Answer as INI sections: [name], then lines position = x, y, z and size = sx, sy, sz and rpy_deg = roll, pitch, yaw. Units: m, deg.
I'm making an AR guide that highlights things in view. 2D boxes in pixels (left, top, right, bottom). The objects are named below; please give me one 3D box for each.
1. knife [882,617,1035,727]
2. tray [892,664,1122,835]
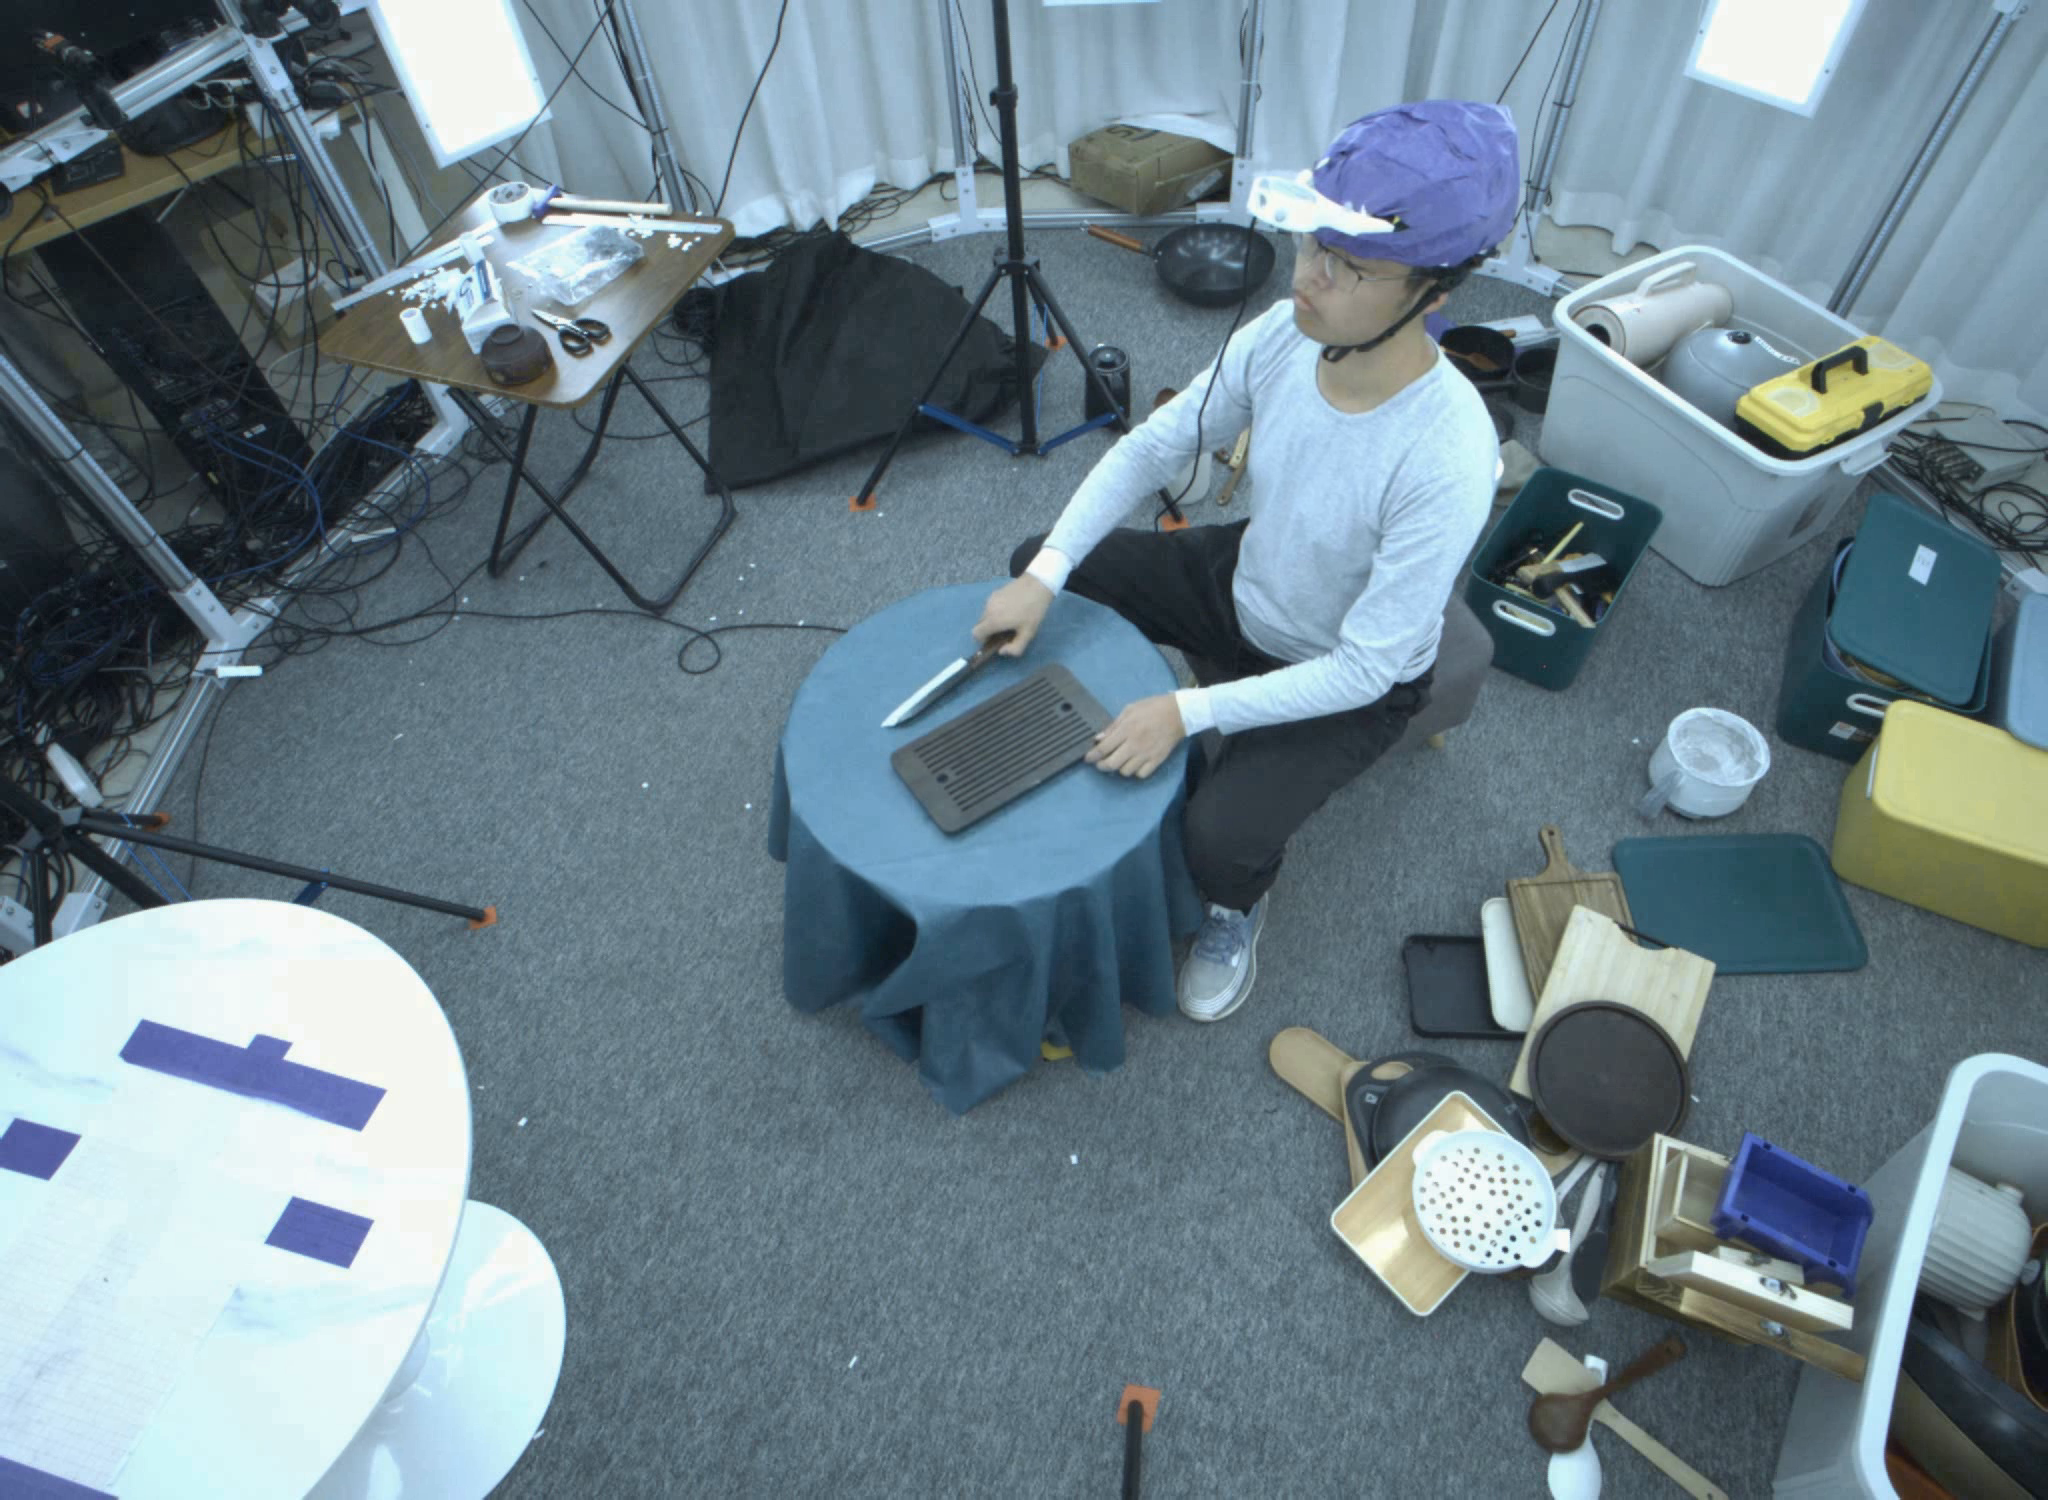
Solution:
[knife]
position = -0.099, -0.118, 1.863
size = 0.291, 0.020, 0.049
rpy_deg = -37, 42, -16
[tray]
position = -0.024, -0.004, 1.788
size = 0.308, 0.019, 0.167
rpy_deg = -29, 59, -19
